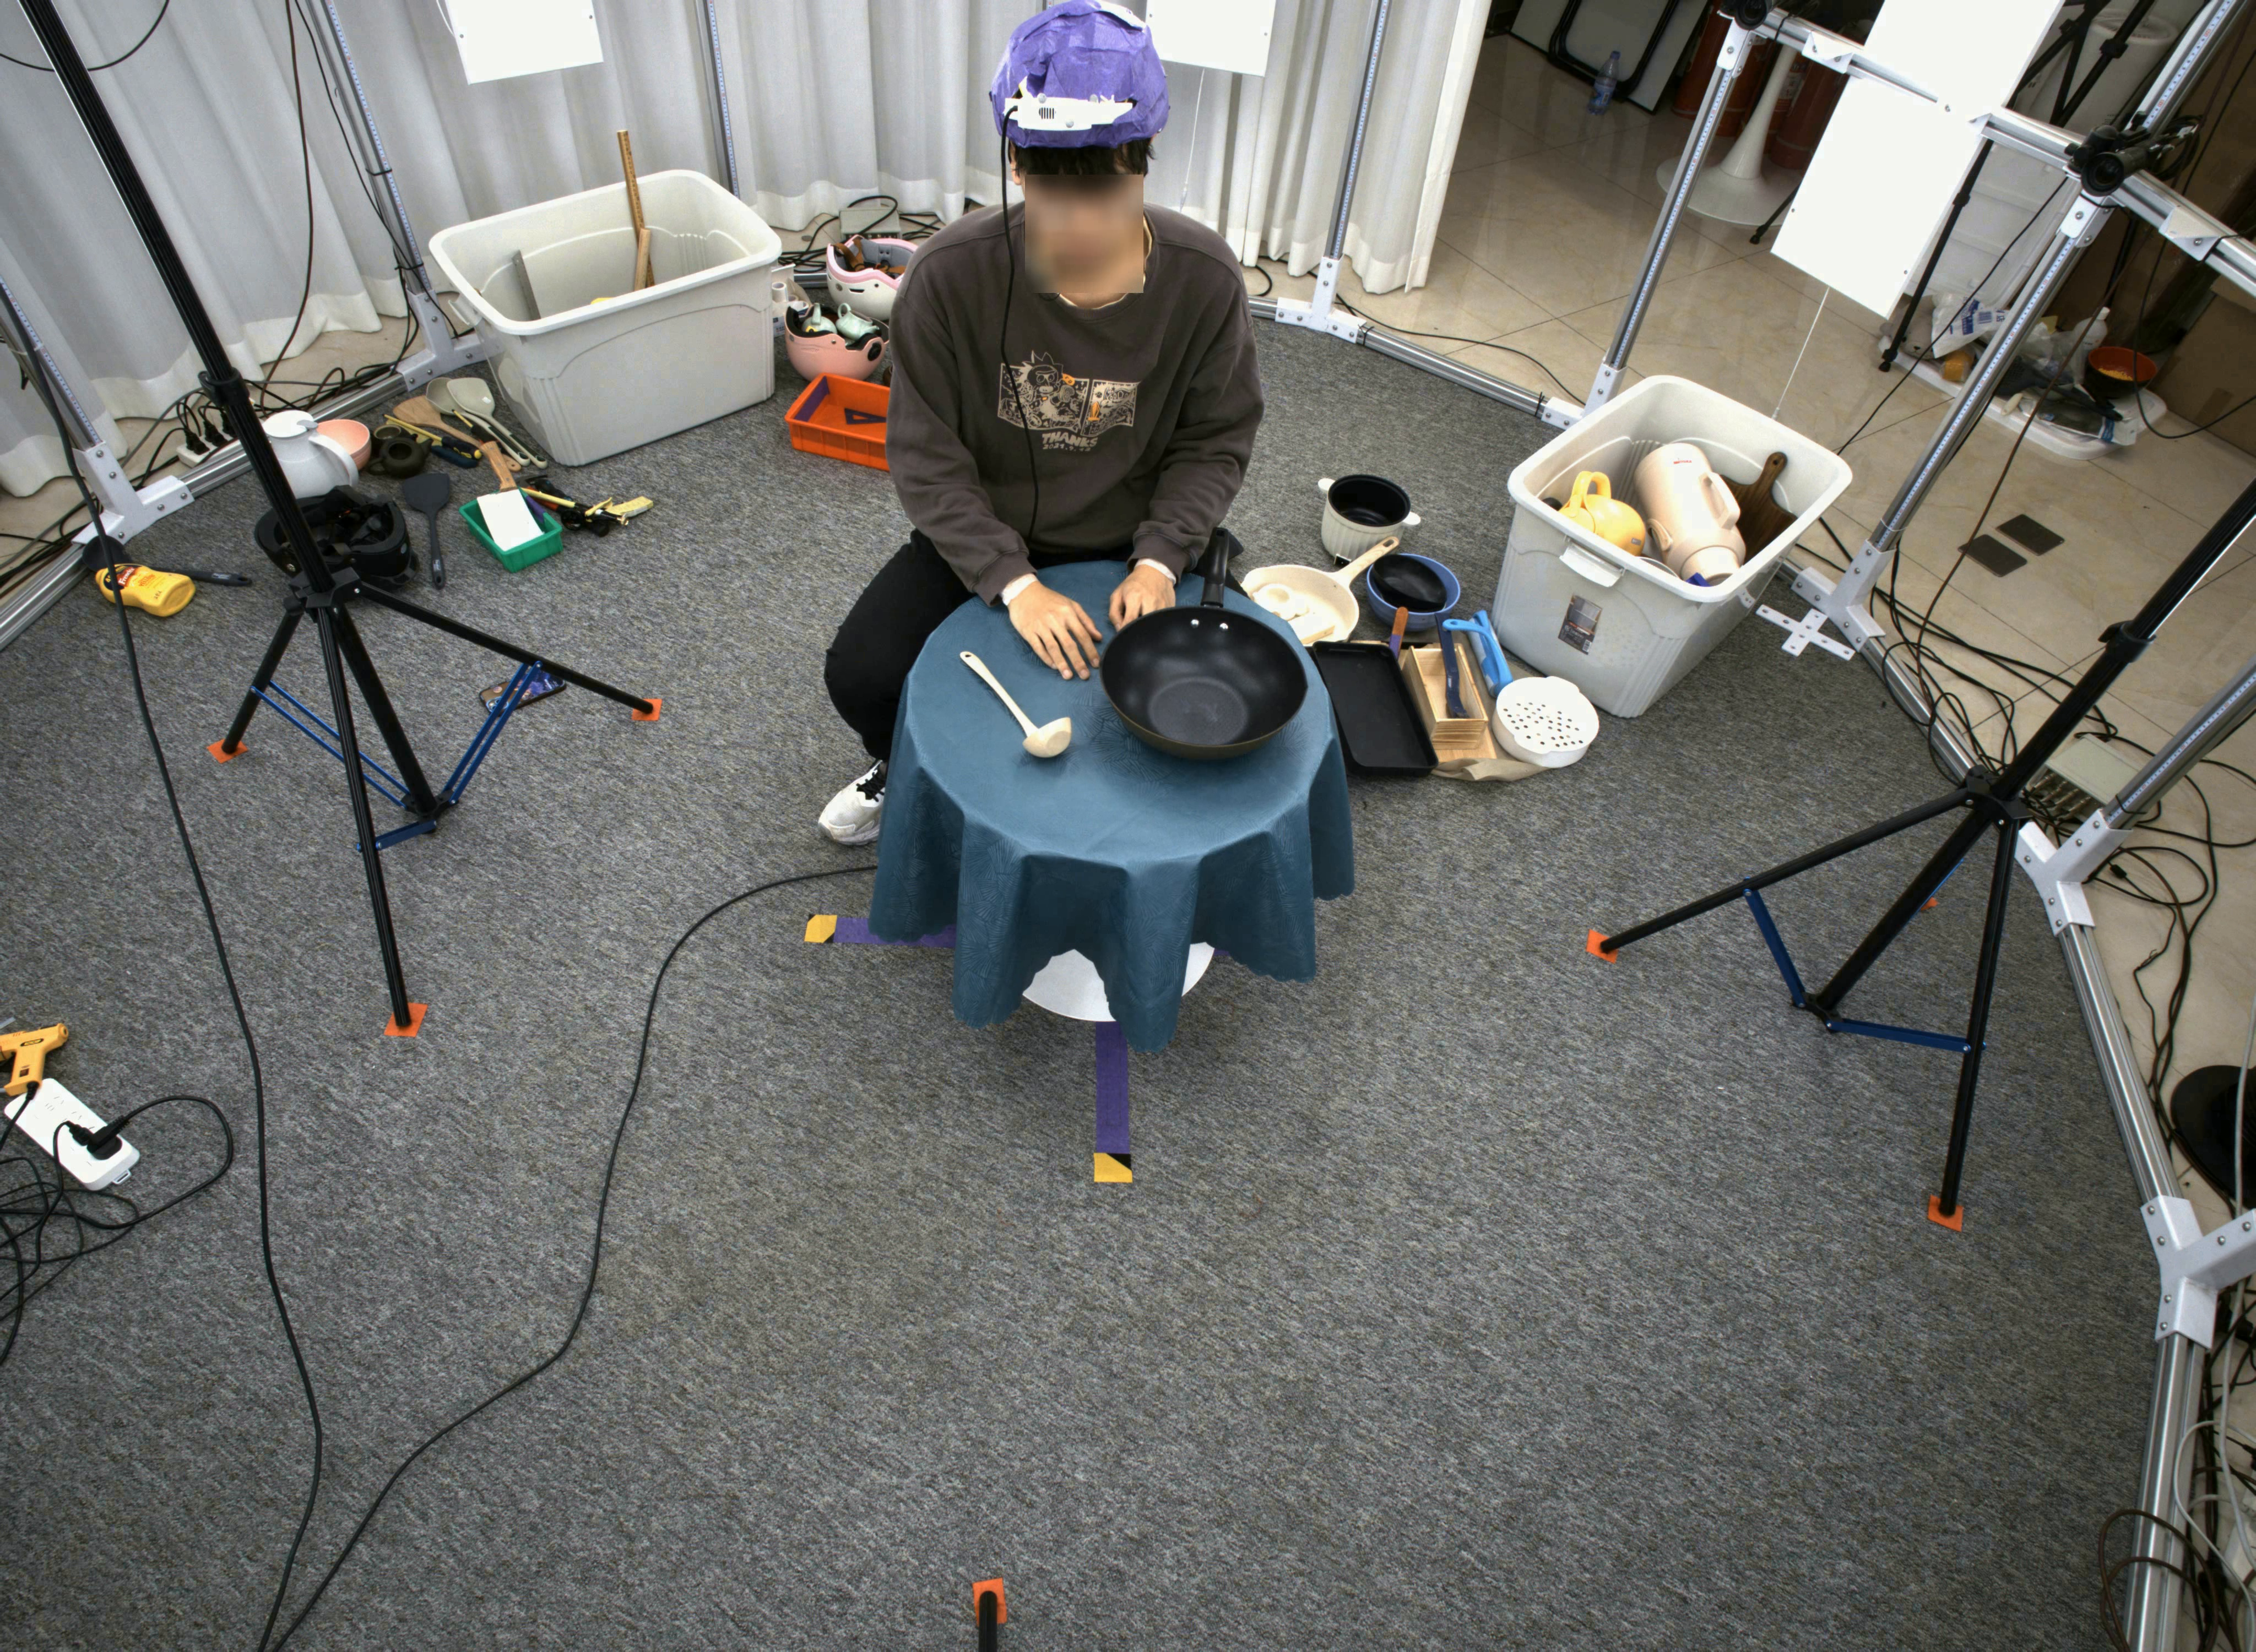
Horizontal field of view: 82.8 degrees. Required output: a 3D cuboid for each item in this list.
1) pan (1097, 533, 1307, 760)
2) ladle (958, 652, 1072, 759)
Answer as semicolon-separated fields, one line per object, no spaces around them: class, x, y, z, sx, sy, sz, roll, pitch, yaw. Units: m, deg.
pan;0.111;-0.253;1.839;0.288;0.085;0.474;7;48;3
ladle;-0.167;-0.188;1.772;0.072;0.071;0.259;-31;58;-20
